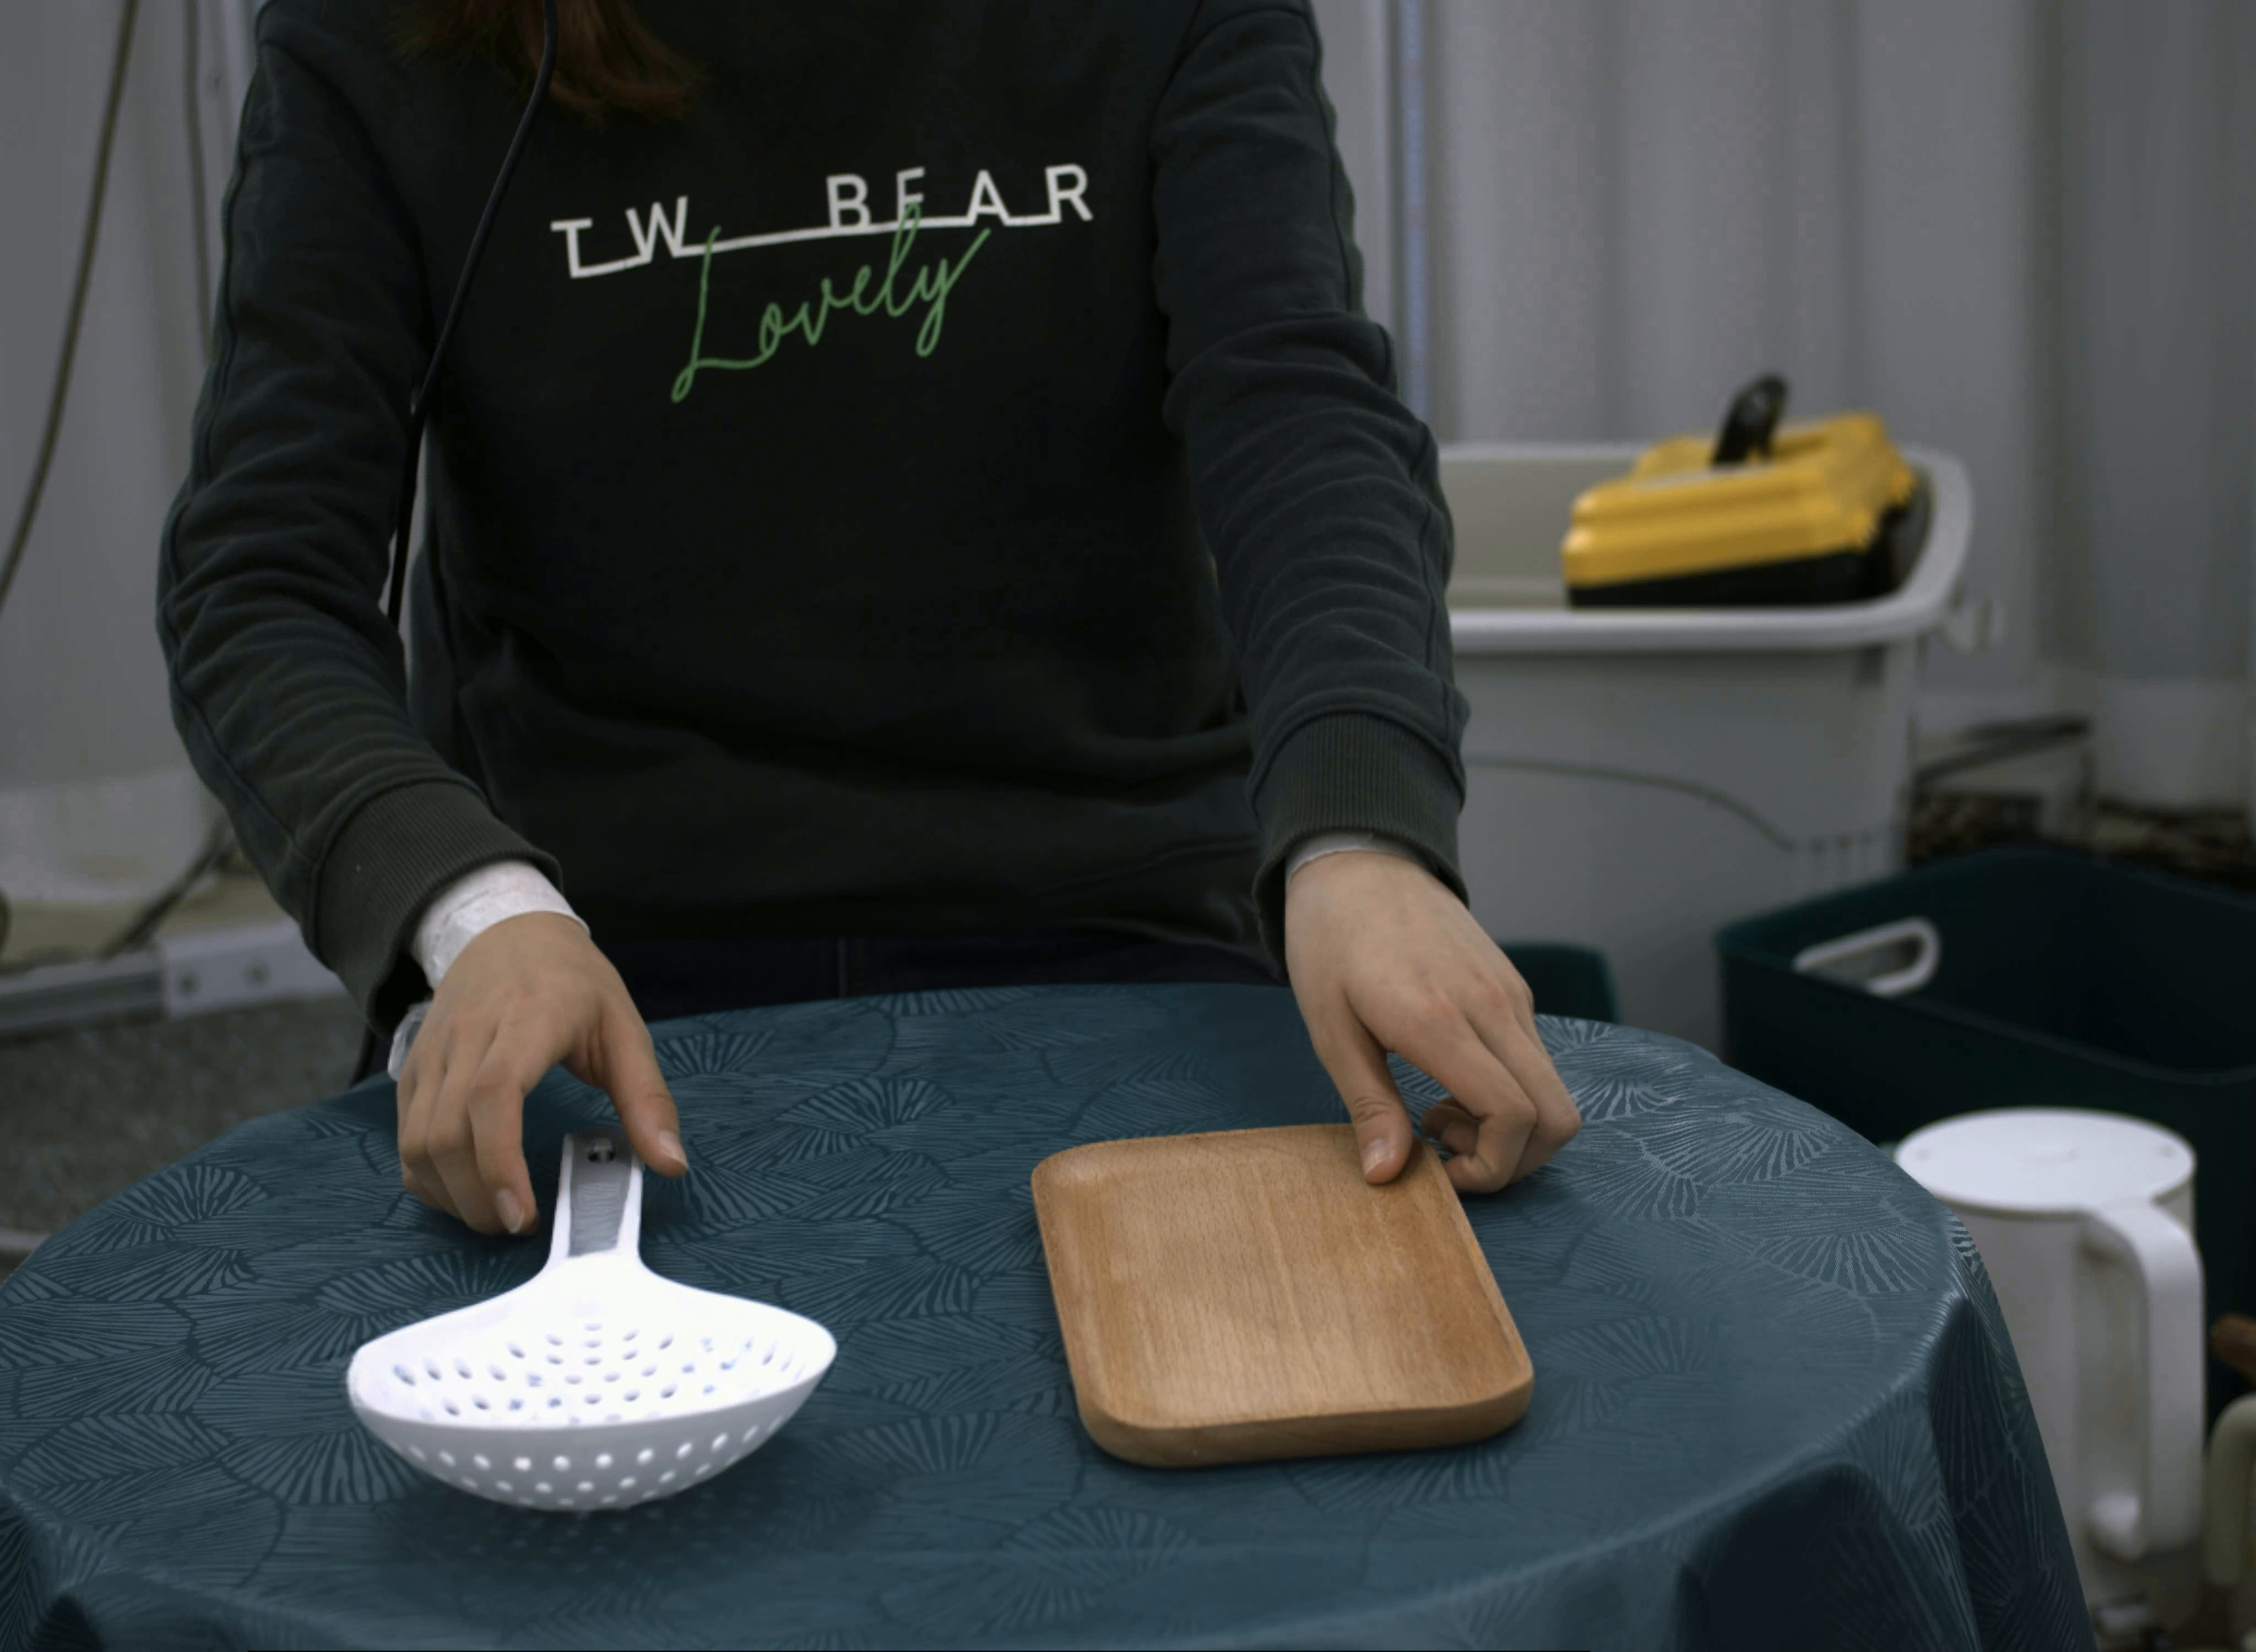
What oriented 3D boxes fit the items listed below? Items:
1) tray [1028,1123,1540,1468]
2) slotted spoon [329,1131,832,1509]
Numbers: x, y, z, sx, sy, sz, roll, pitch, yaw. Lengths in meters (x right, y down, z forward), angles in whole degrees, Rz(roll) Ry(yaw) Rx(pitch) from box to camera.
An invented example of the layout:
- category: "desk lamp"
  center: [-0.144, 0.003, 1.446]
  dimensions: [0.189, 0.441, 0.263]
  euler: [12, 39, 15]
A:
- category: "tray"
  center: [0.041, 0.135, 1.600]
  dimensions: [0.130, 0.023, 0.252]
  euler: [-2, 14, -4]
- category: "slotted spoon"
  center: [-0.155, 0.134, 1.585]
  dimensions: [0.135, 0.045, 0.352]
  euler: [-2, 14, -4]
